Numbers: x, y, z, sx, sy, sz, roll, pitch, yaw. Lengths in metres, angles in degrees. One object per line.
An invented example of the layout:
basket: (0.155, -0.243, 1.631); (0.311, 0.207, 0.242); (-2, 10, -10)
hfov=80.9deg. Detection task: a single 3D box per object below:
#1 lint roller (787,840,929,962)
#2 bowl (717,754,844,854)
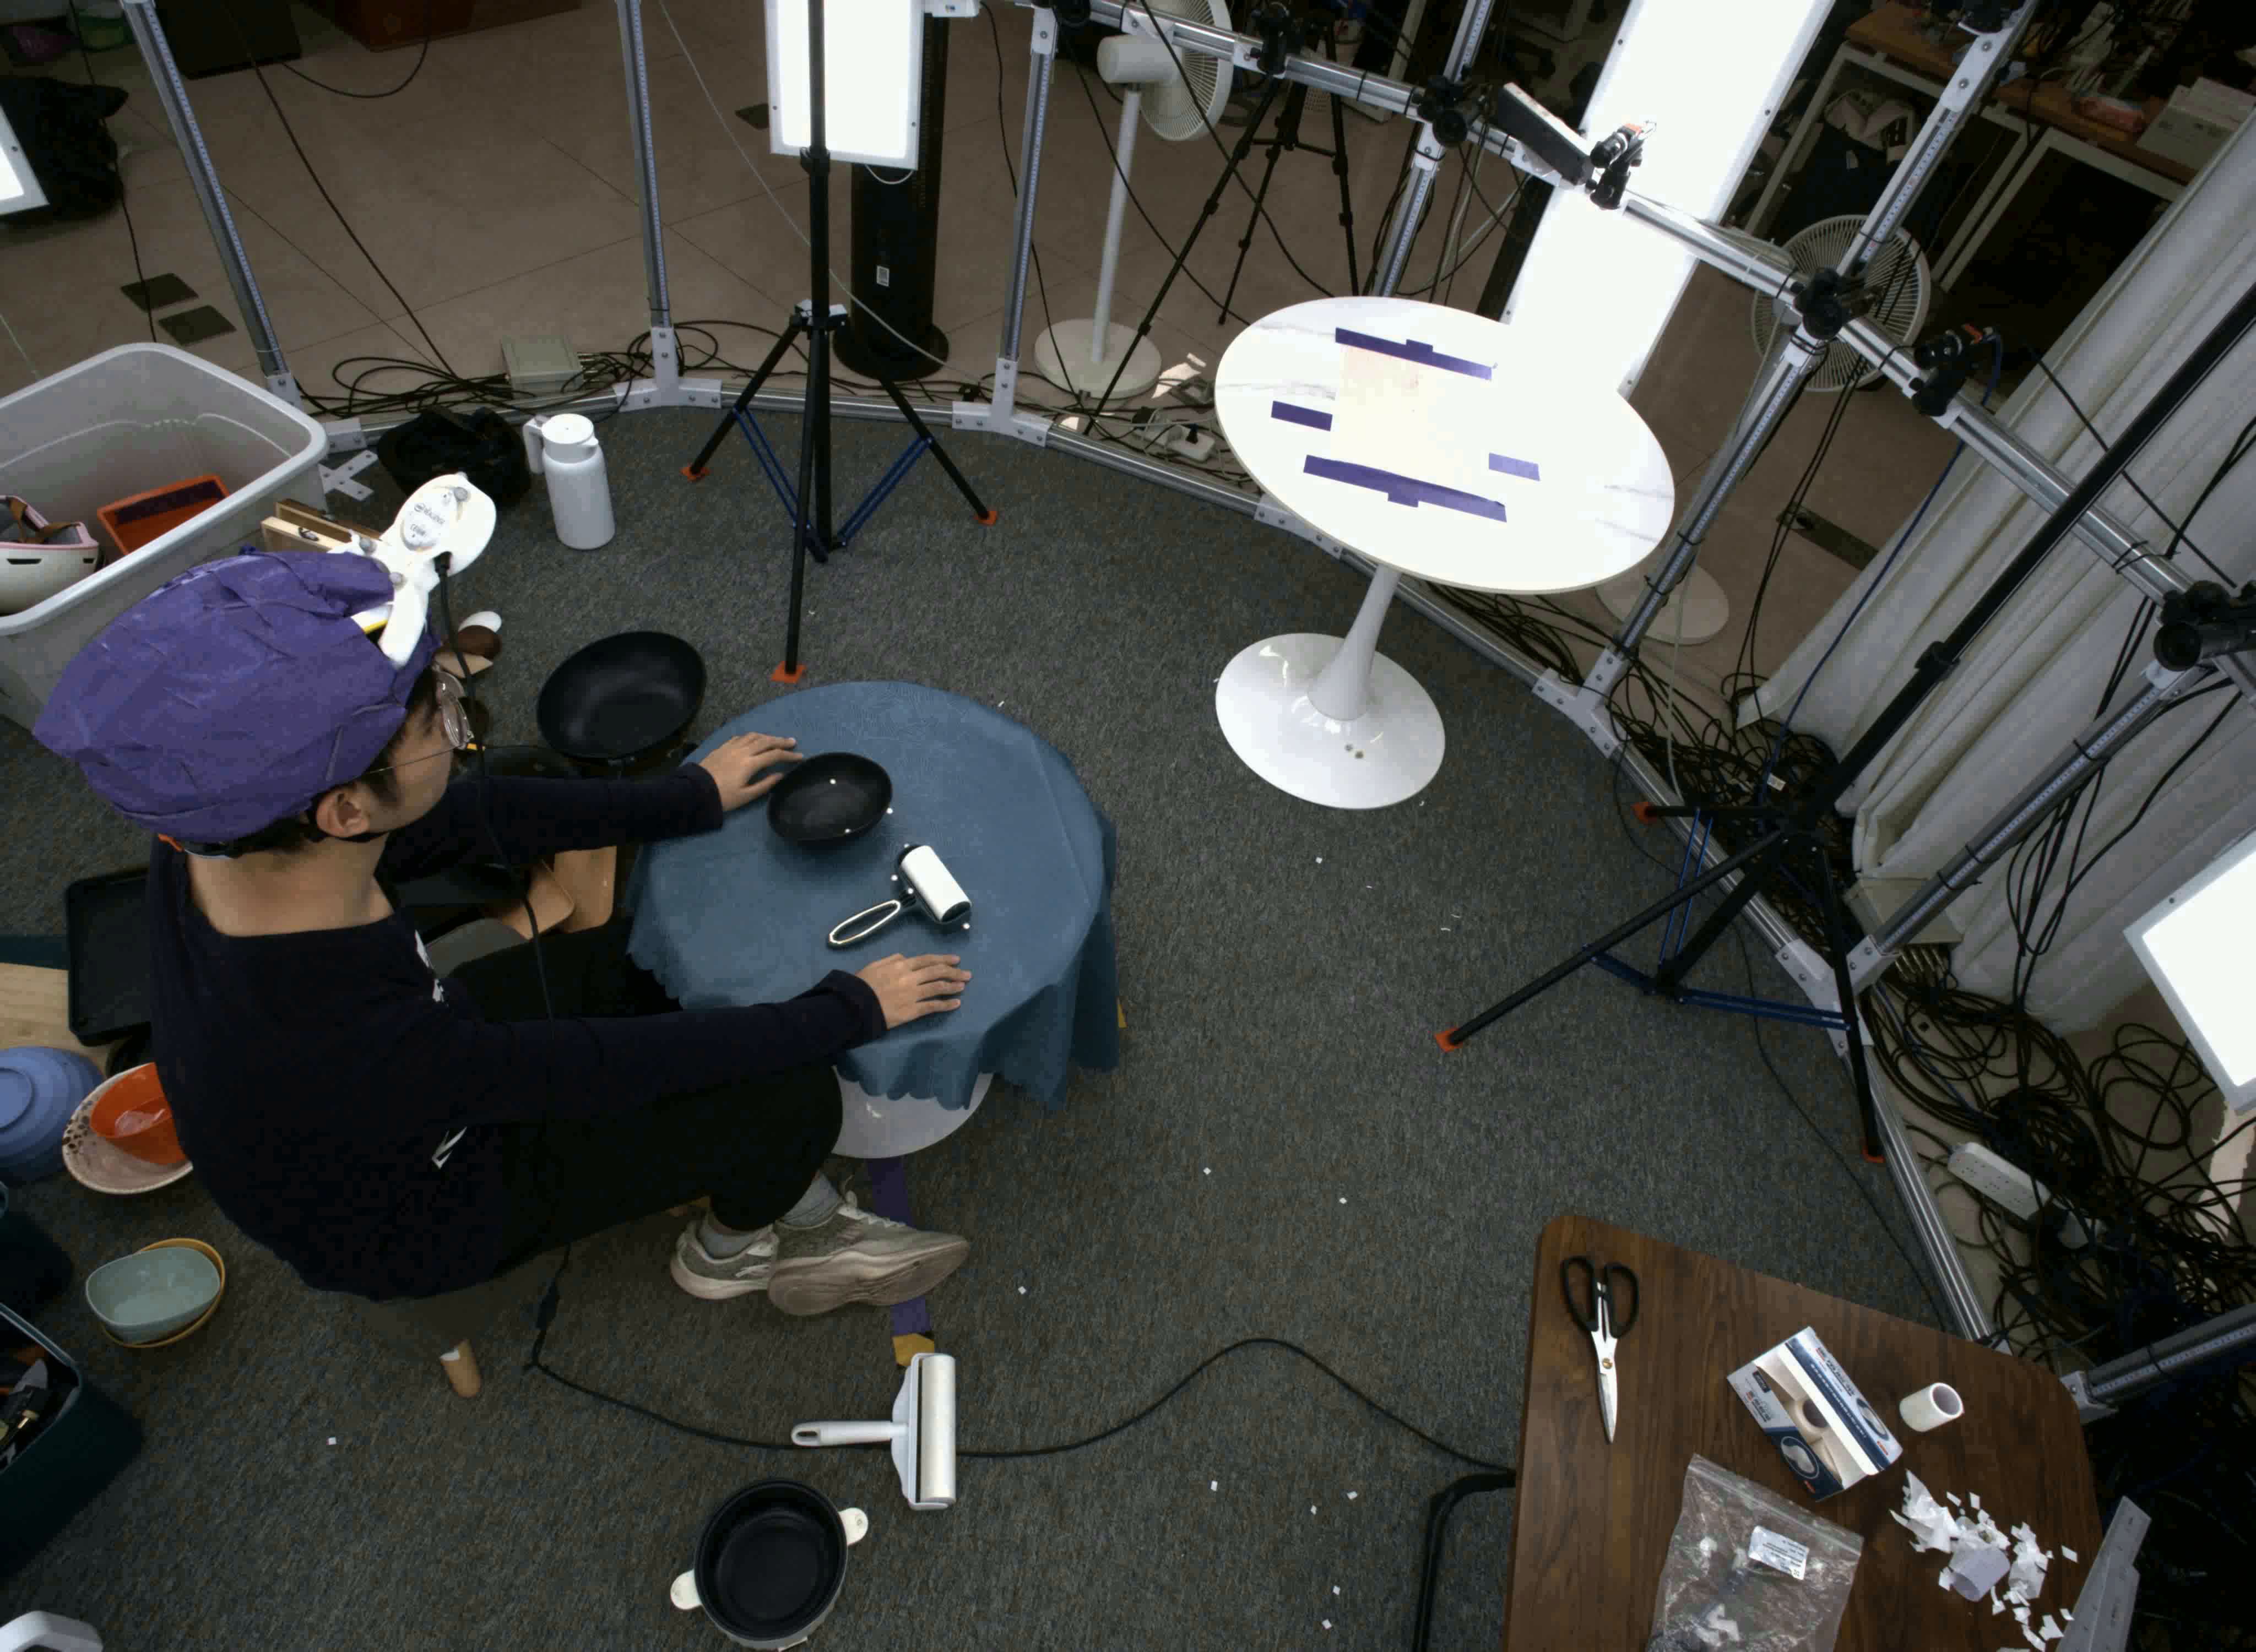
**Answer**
lint roller: (-0.355, 0.108, 1.647); (0.180, 0.049, 0.131); (-31, 66, -27)
bowl: (-0.453, -0.017, 1.699); (0.171, 0.068, 0.134); (-31, 66, -29)
